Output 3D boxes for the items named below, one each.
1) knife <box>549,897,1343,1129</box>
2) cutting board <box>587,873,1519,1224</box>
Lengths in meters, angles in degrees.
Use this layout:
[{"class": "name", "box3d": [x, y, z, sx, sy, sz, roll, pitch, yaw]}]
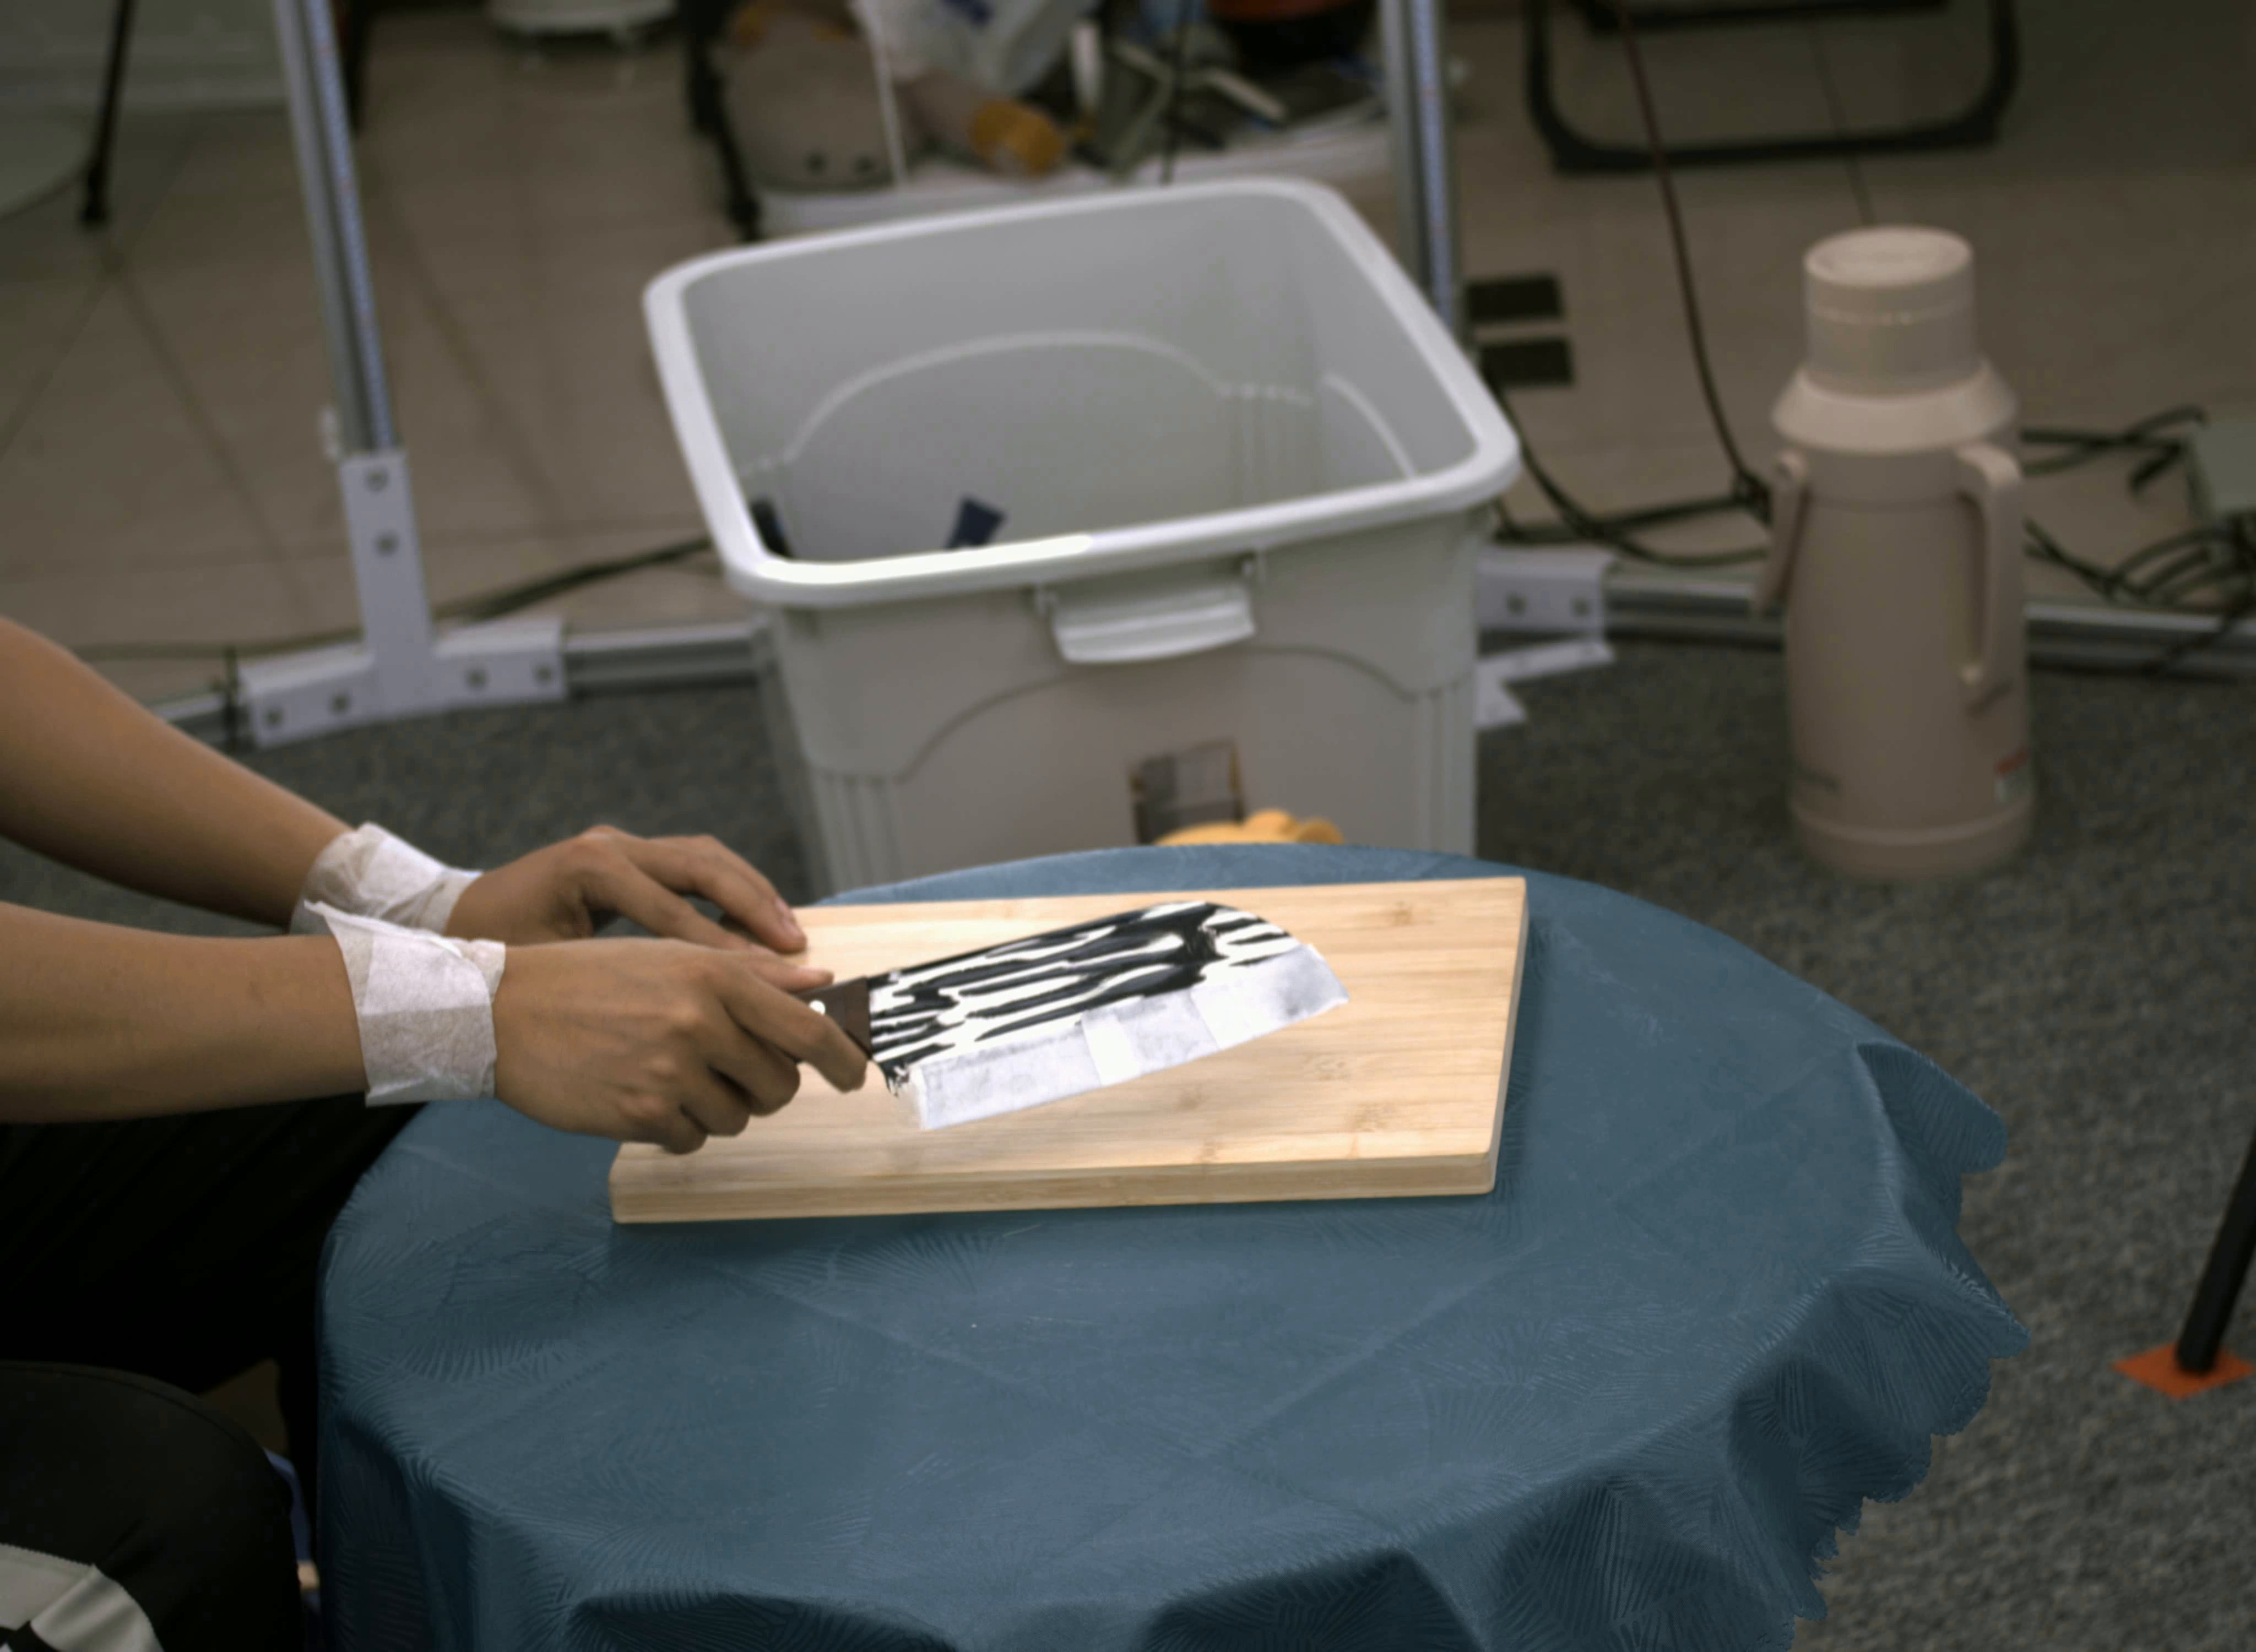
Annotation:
[{"class": "knife", "box3d": [-0.068, 0.078, 2.146, 0.299, 0.024, 0.067, -13, 69, -4]}, {"class": "cutting board", "box3d": [-0.023, 0.087, 2.250, 0.348, 0.024, 0.247, -3, 25, 8]}]
